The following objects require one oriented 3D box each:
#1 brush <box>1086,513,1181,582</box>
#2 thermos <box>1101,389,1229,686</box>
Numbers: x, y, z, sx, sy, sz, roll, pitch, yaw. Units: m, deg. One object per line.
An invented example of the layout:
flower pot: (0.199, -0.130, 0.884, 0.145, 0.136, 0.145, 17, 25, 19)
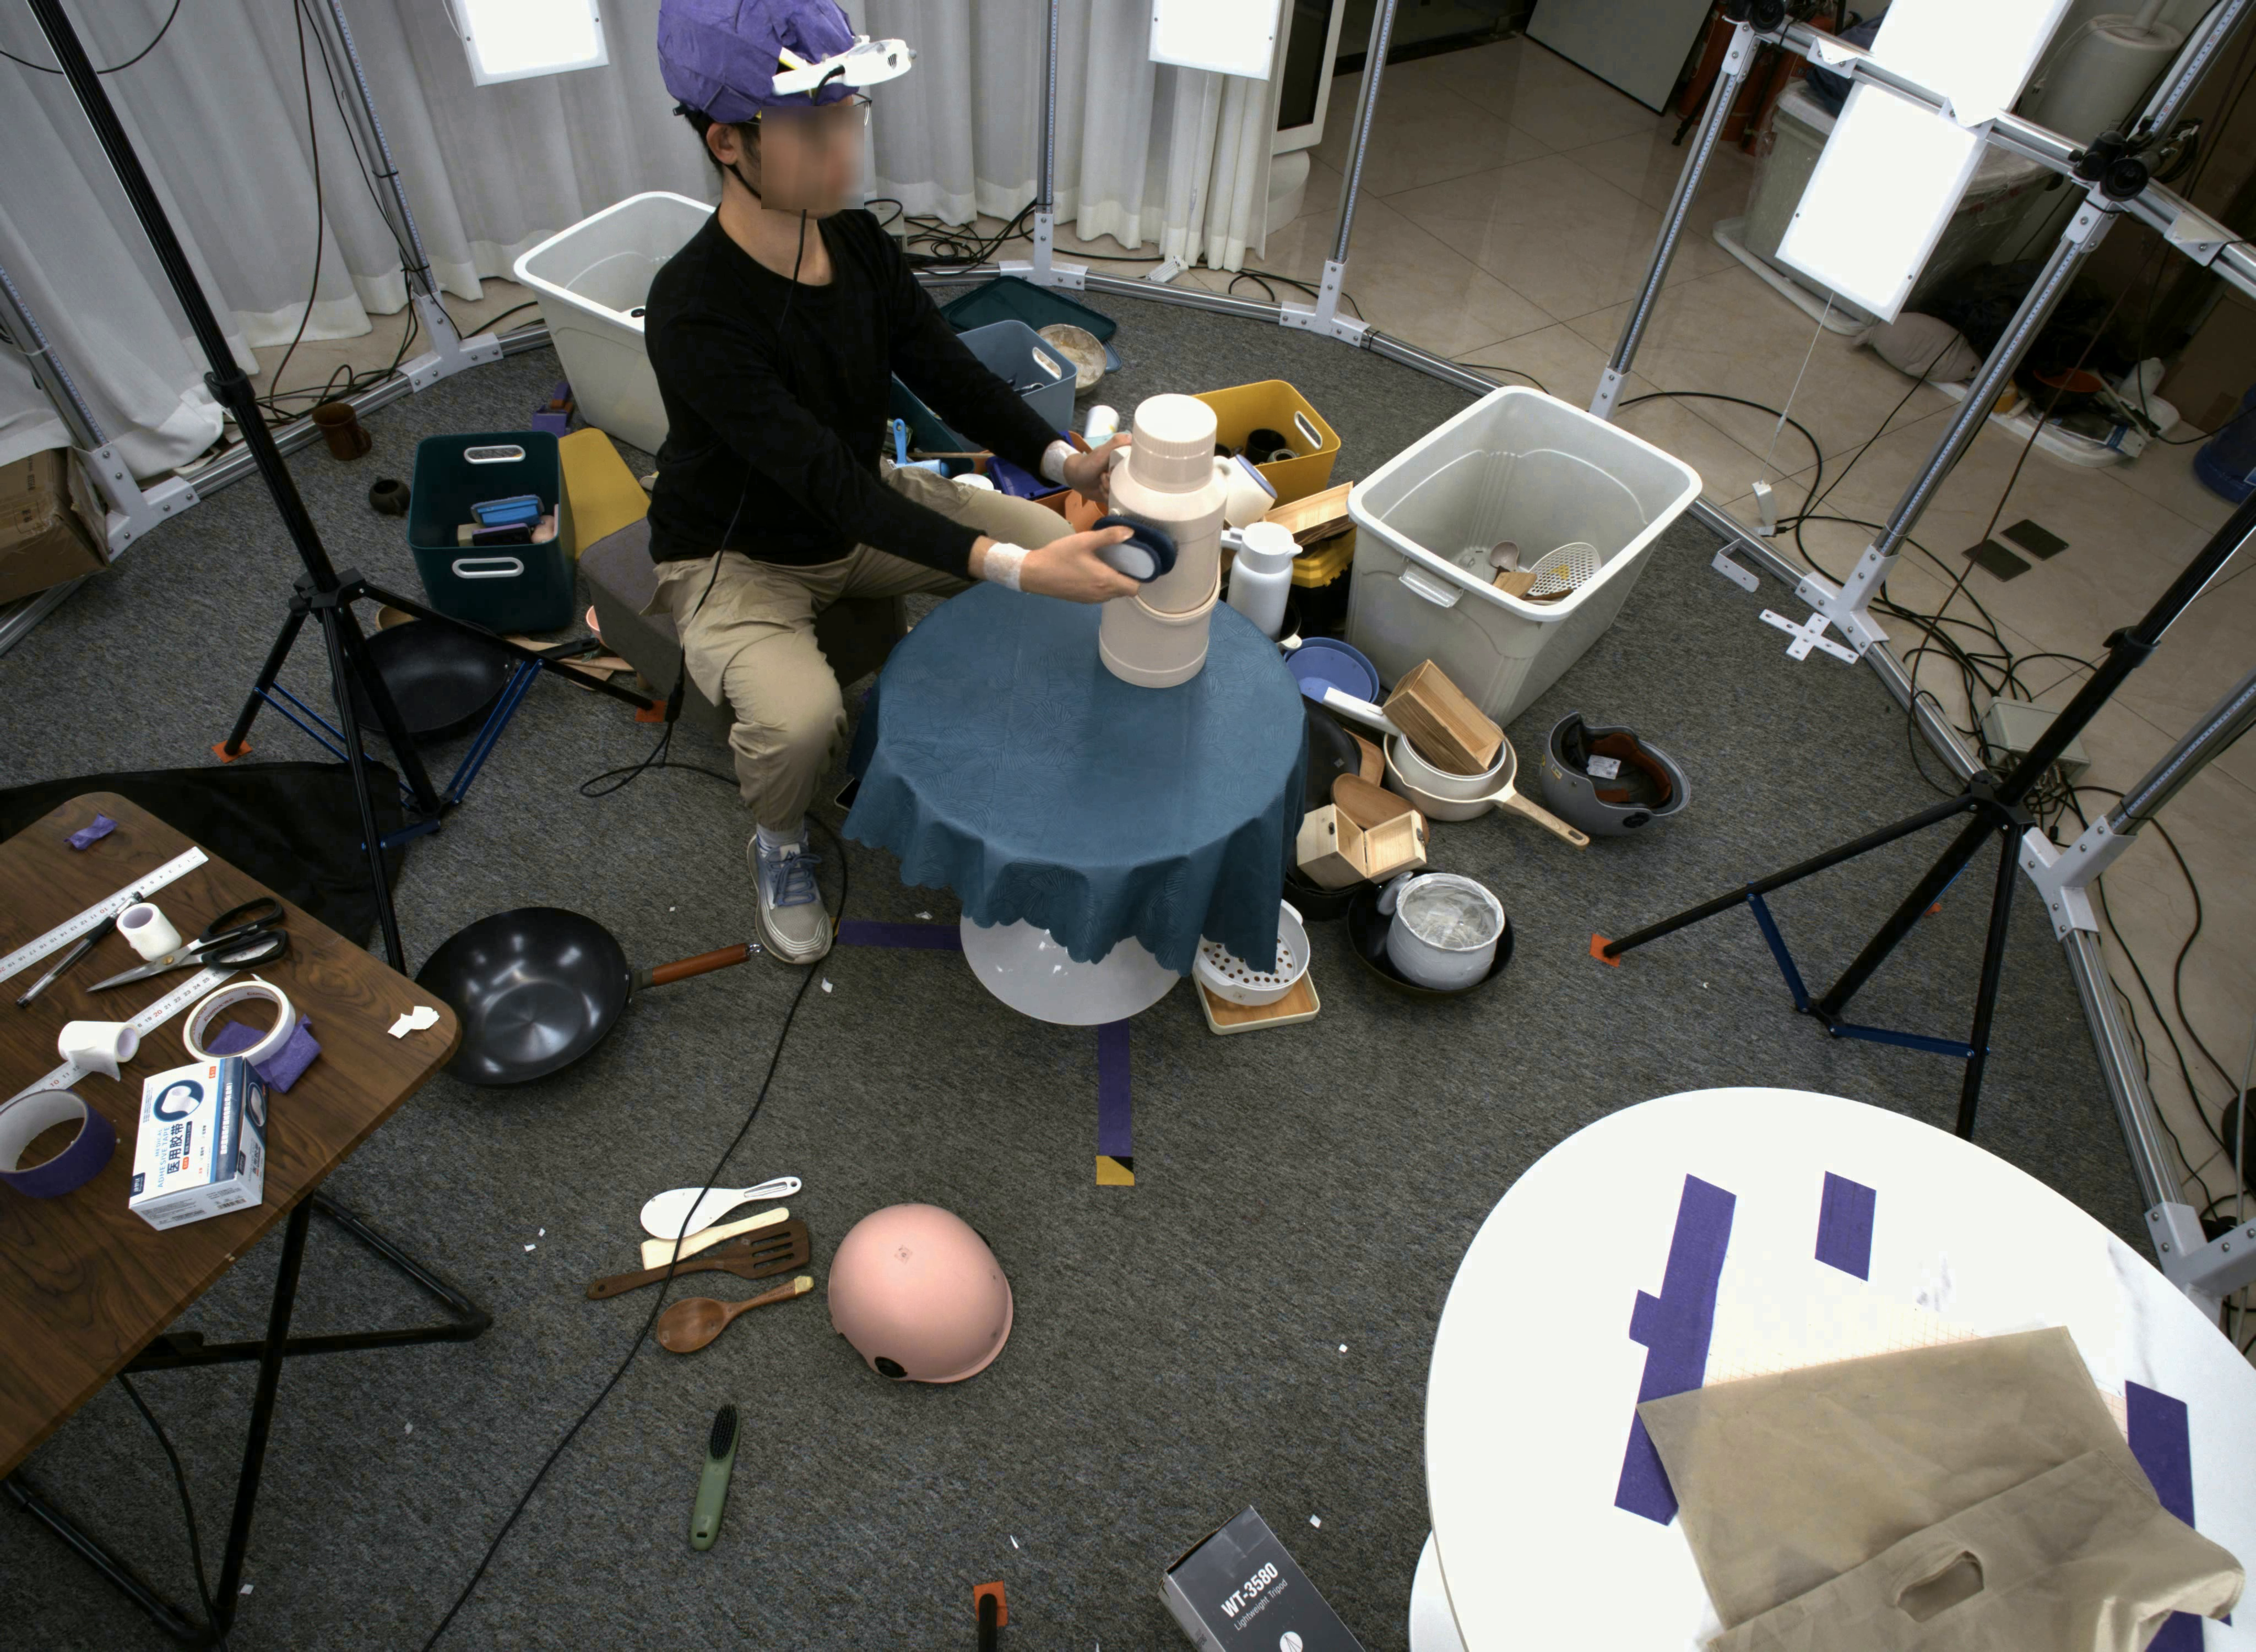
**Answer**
brush: (0.009, -0.355, 1.628, 0.123, 0.066, 0.062, 24, 49, 21)
thermos: (0.042, -0.396, 1.760, 0.176, 0.396, 0.211, -28, 57, -23)
